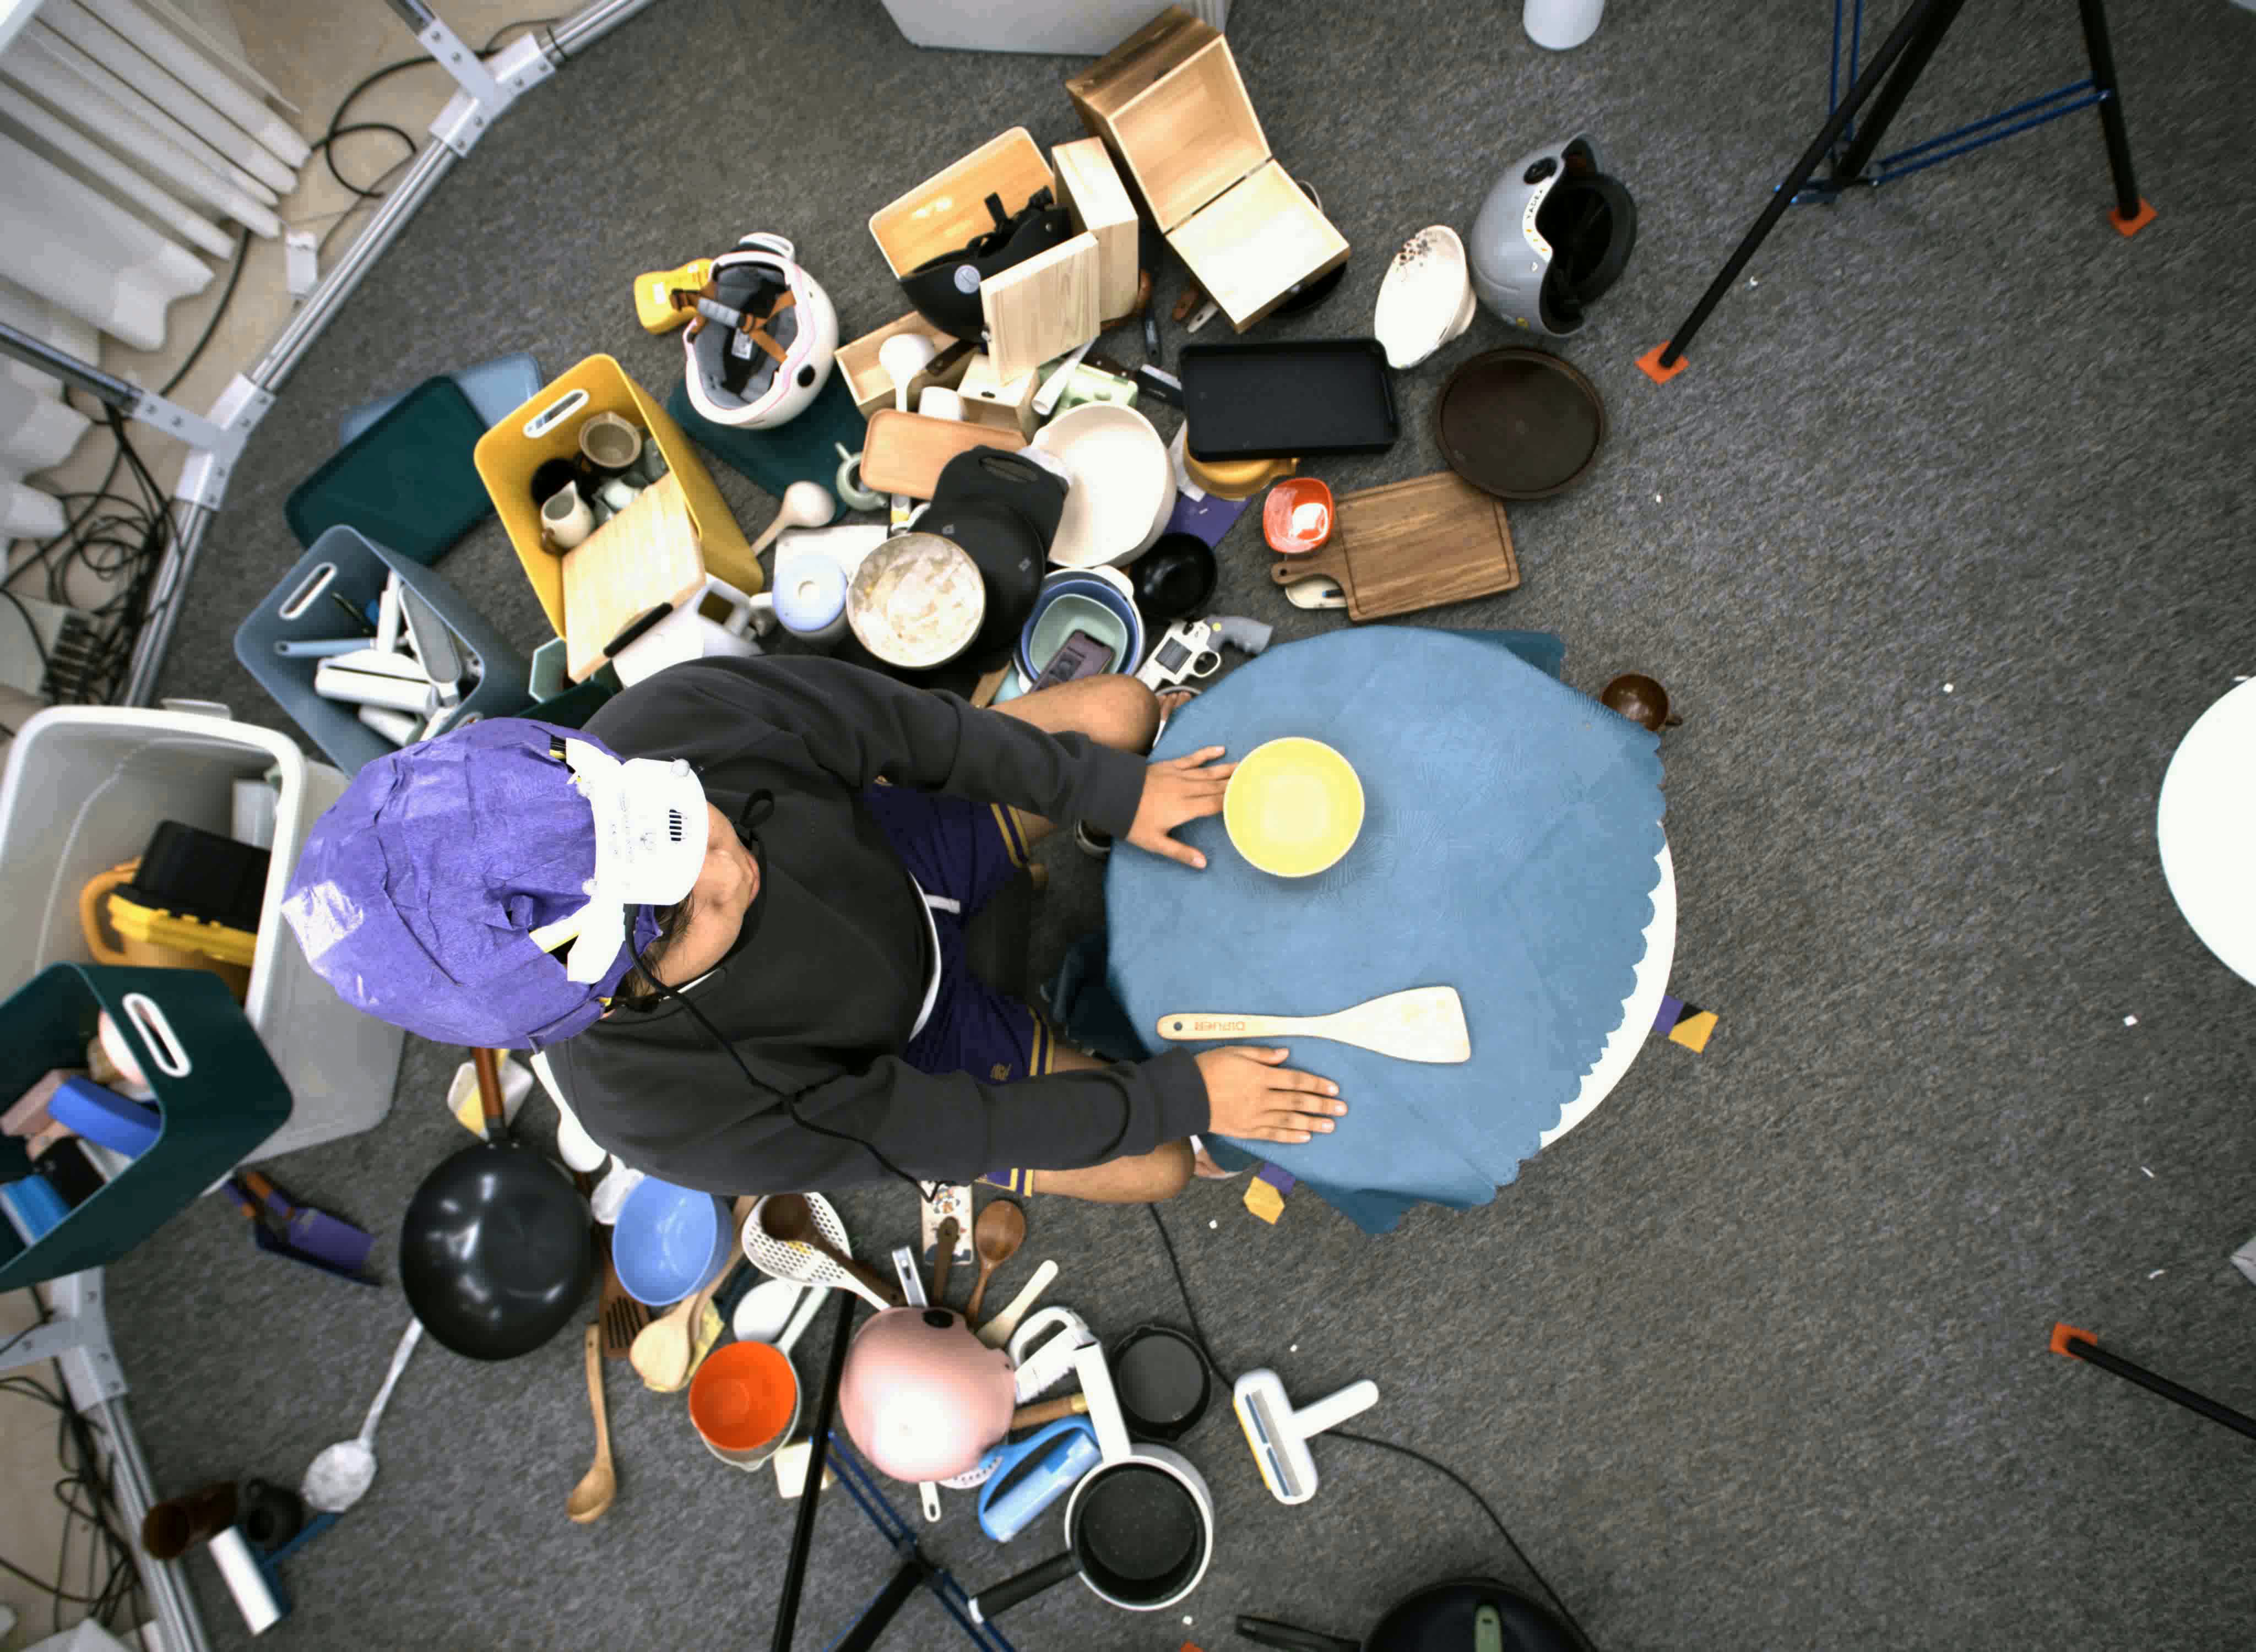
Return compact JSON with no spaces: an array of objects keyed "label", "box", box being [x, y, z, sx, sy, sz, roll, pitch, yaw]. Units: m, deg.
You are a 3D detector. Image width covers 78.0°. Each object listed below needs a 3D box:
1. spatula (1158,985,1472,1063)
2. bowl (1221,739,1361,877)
[{"label":"spatula","box":[0.193,0.208,1.458,0.329,0.016,0.079,-2,87,11]},{"label":"bowl","box":[0.172,-0.016,1.453,0.146,0.060,0.144,-1,84,10]}]
